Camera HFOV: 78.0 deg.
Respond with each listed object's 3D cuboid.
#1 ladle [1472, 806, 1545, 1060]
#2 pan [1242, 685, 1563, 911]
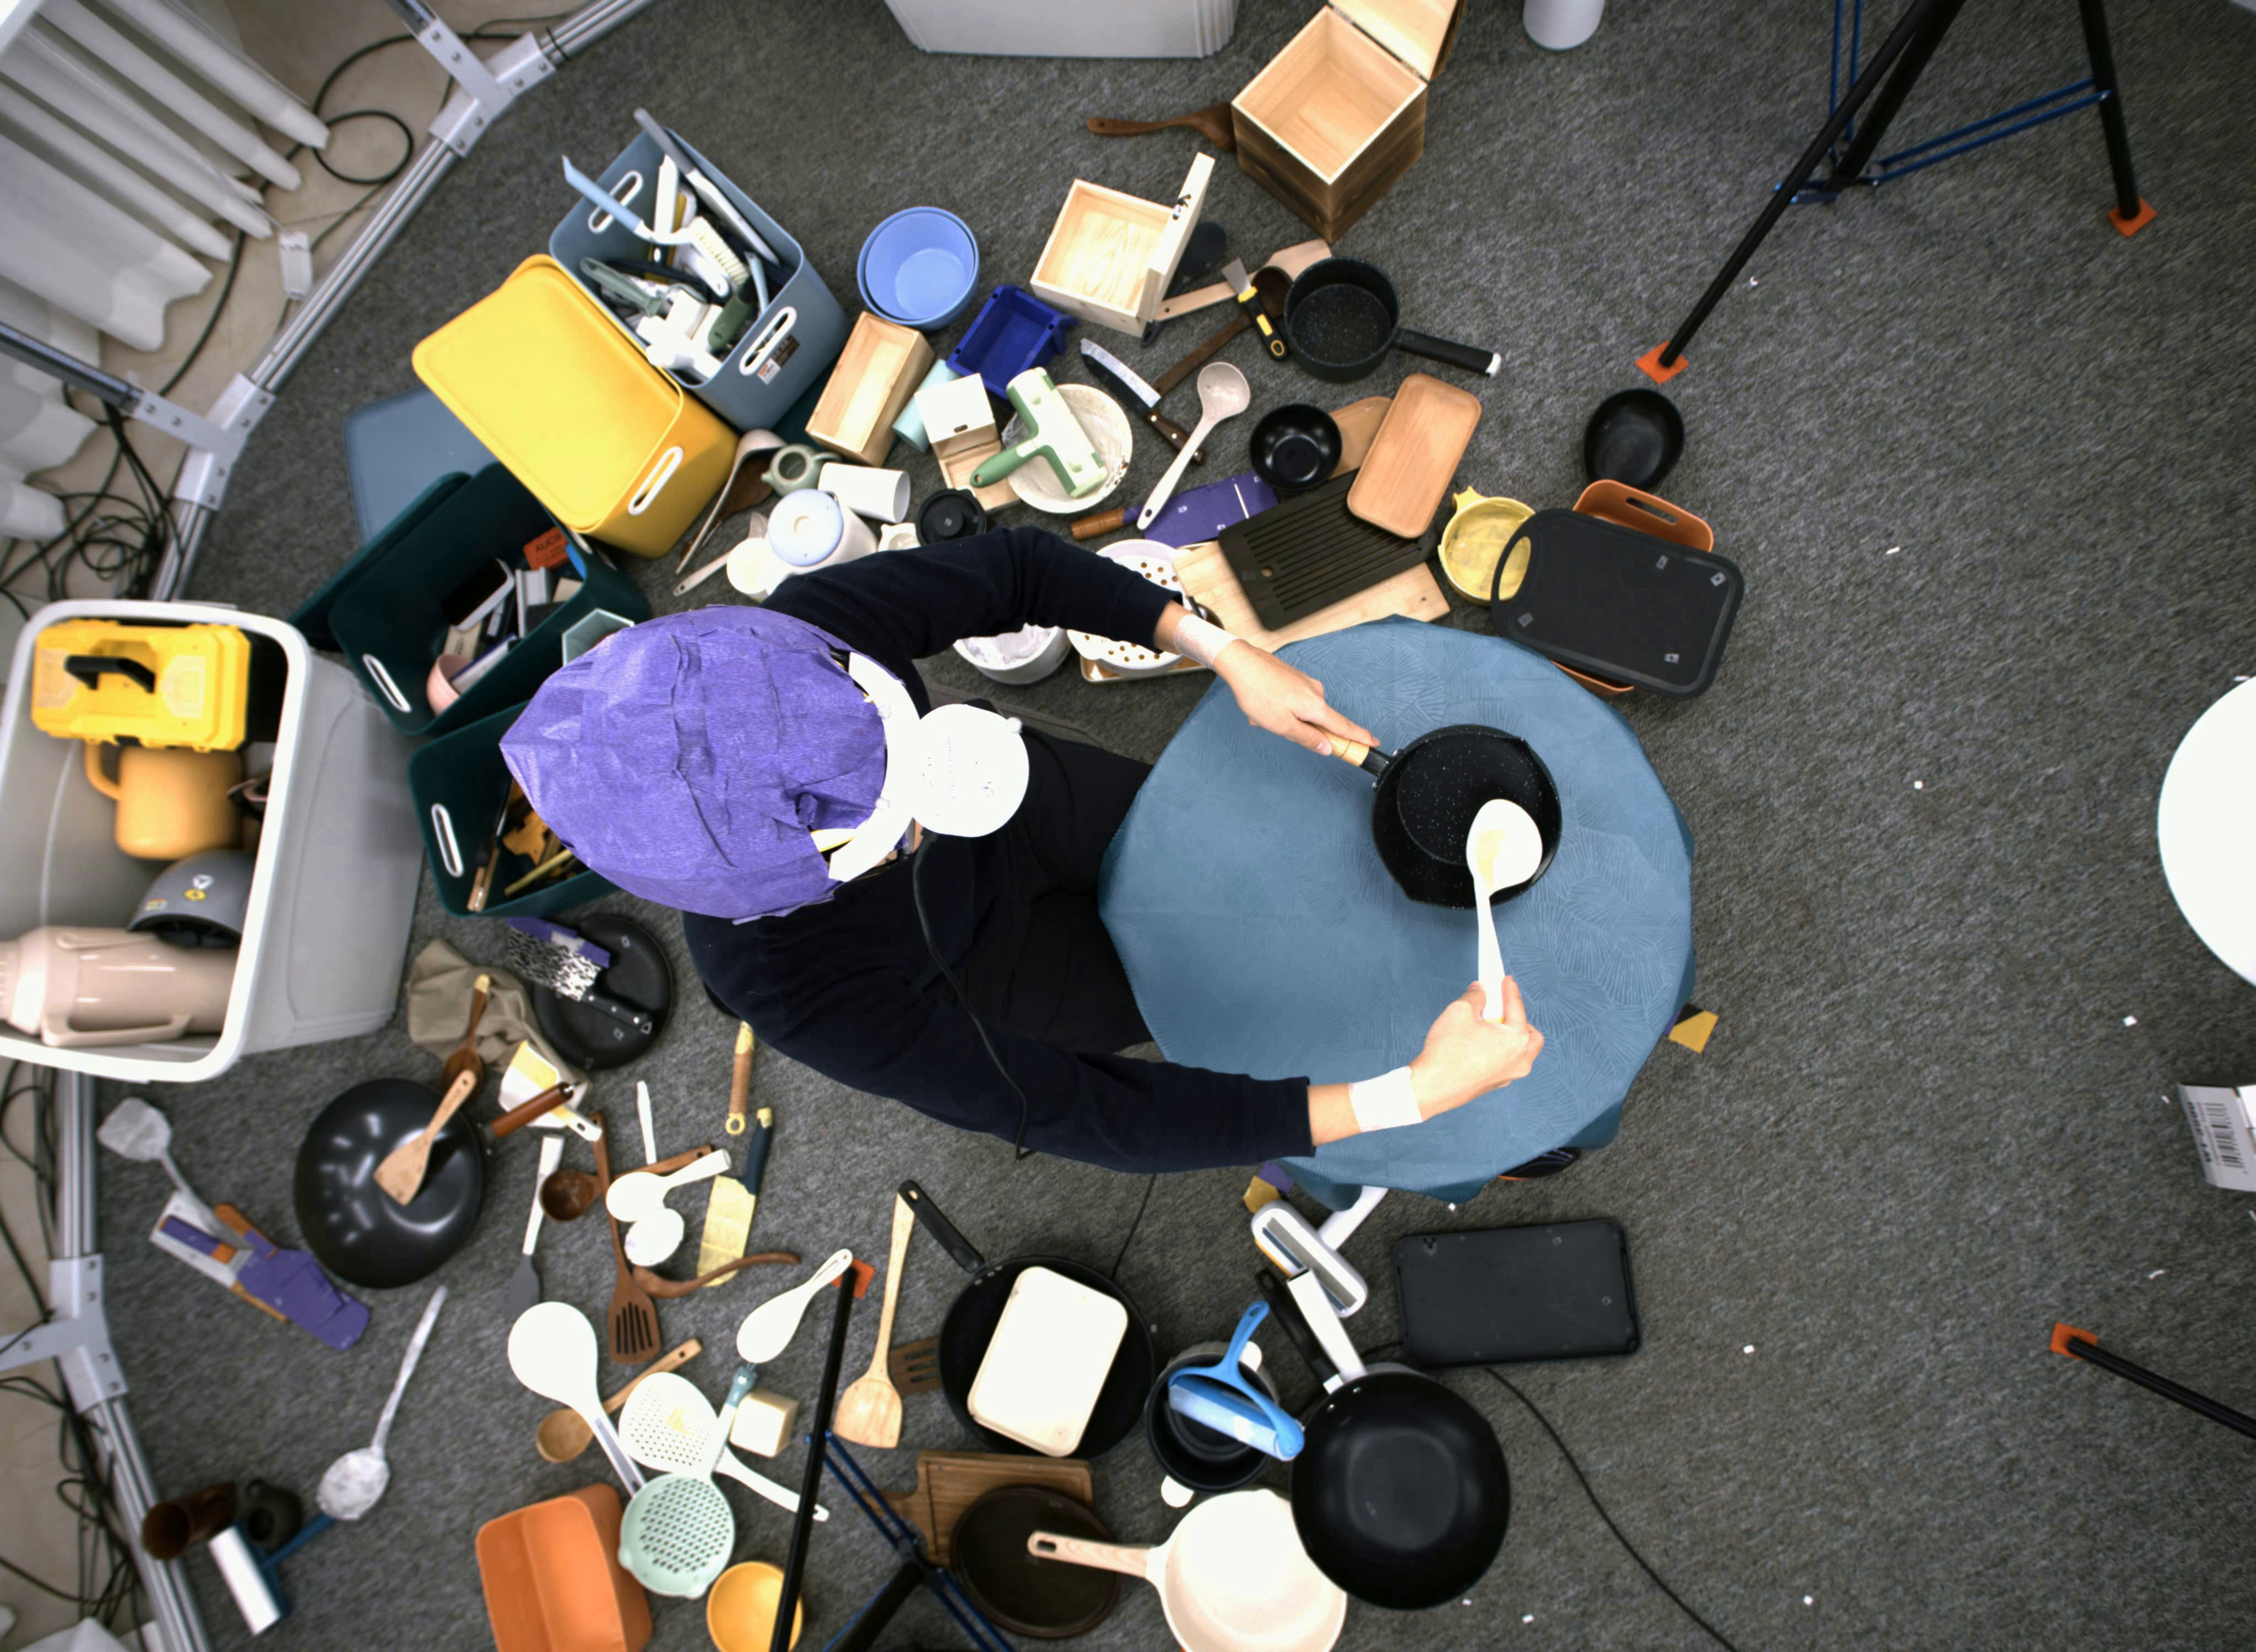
[{"bbox_3d":[0.354,0.093,1.278,0.071,0.285,0.091,-29,116,31],"label":"ladle"},{"bbox_3d":[0.270,-0.054,1.378,0.343,0.106,0.212,30,116,3],"label":"pan"}]
